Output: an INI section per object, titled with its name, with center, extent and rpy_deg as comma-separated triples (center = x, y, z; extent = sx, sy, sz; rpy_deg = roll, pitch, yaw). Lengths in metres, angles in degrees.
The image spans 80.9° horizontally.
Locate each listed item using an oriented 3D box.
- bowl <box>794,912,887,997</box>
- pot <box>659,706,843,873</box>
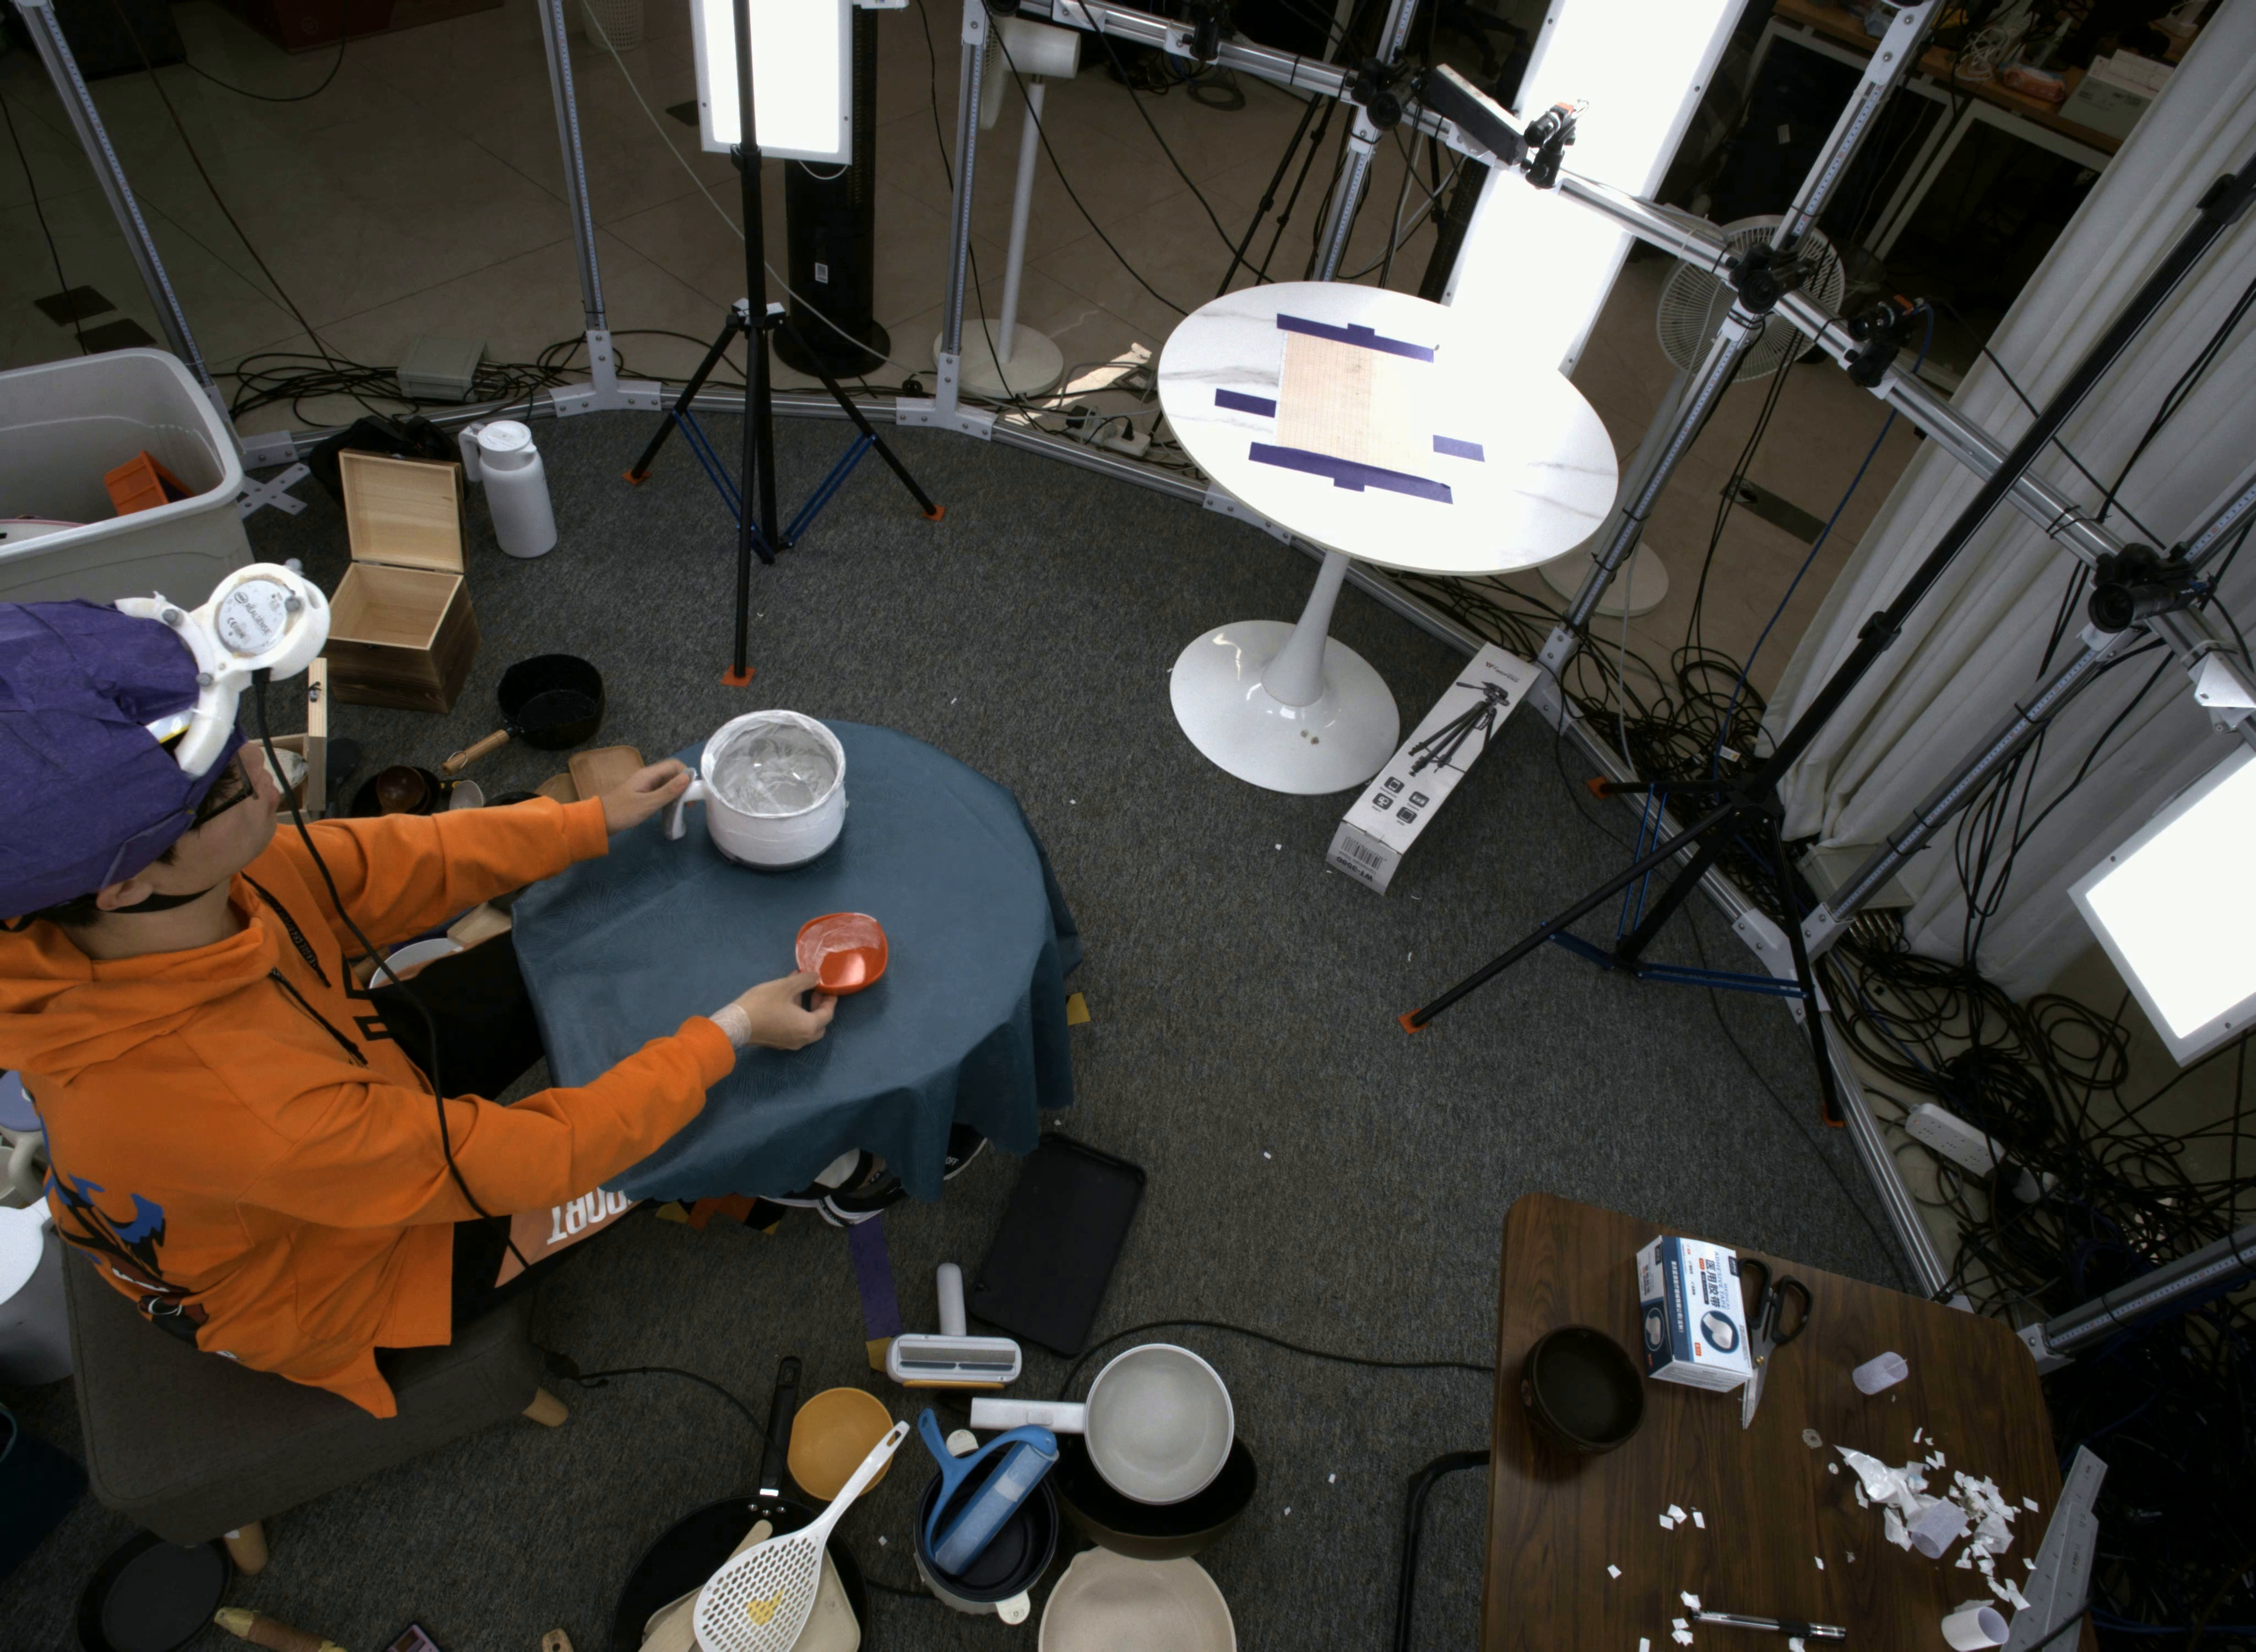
[bowl]
center = -0.348, 0.162, 1.575
extent = 0.118, 0.052, 0.116
rpy_deg = 8, 49, -7
[pot]
center = -0.478, -0.038, 1.639
extent = 0.235, 0.139, 0.174
rpy_deg = -10, 56, -21
